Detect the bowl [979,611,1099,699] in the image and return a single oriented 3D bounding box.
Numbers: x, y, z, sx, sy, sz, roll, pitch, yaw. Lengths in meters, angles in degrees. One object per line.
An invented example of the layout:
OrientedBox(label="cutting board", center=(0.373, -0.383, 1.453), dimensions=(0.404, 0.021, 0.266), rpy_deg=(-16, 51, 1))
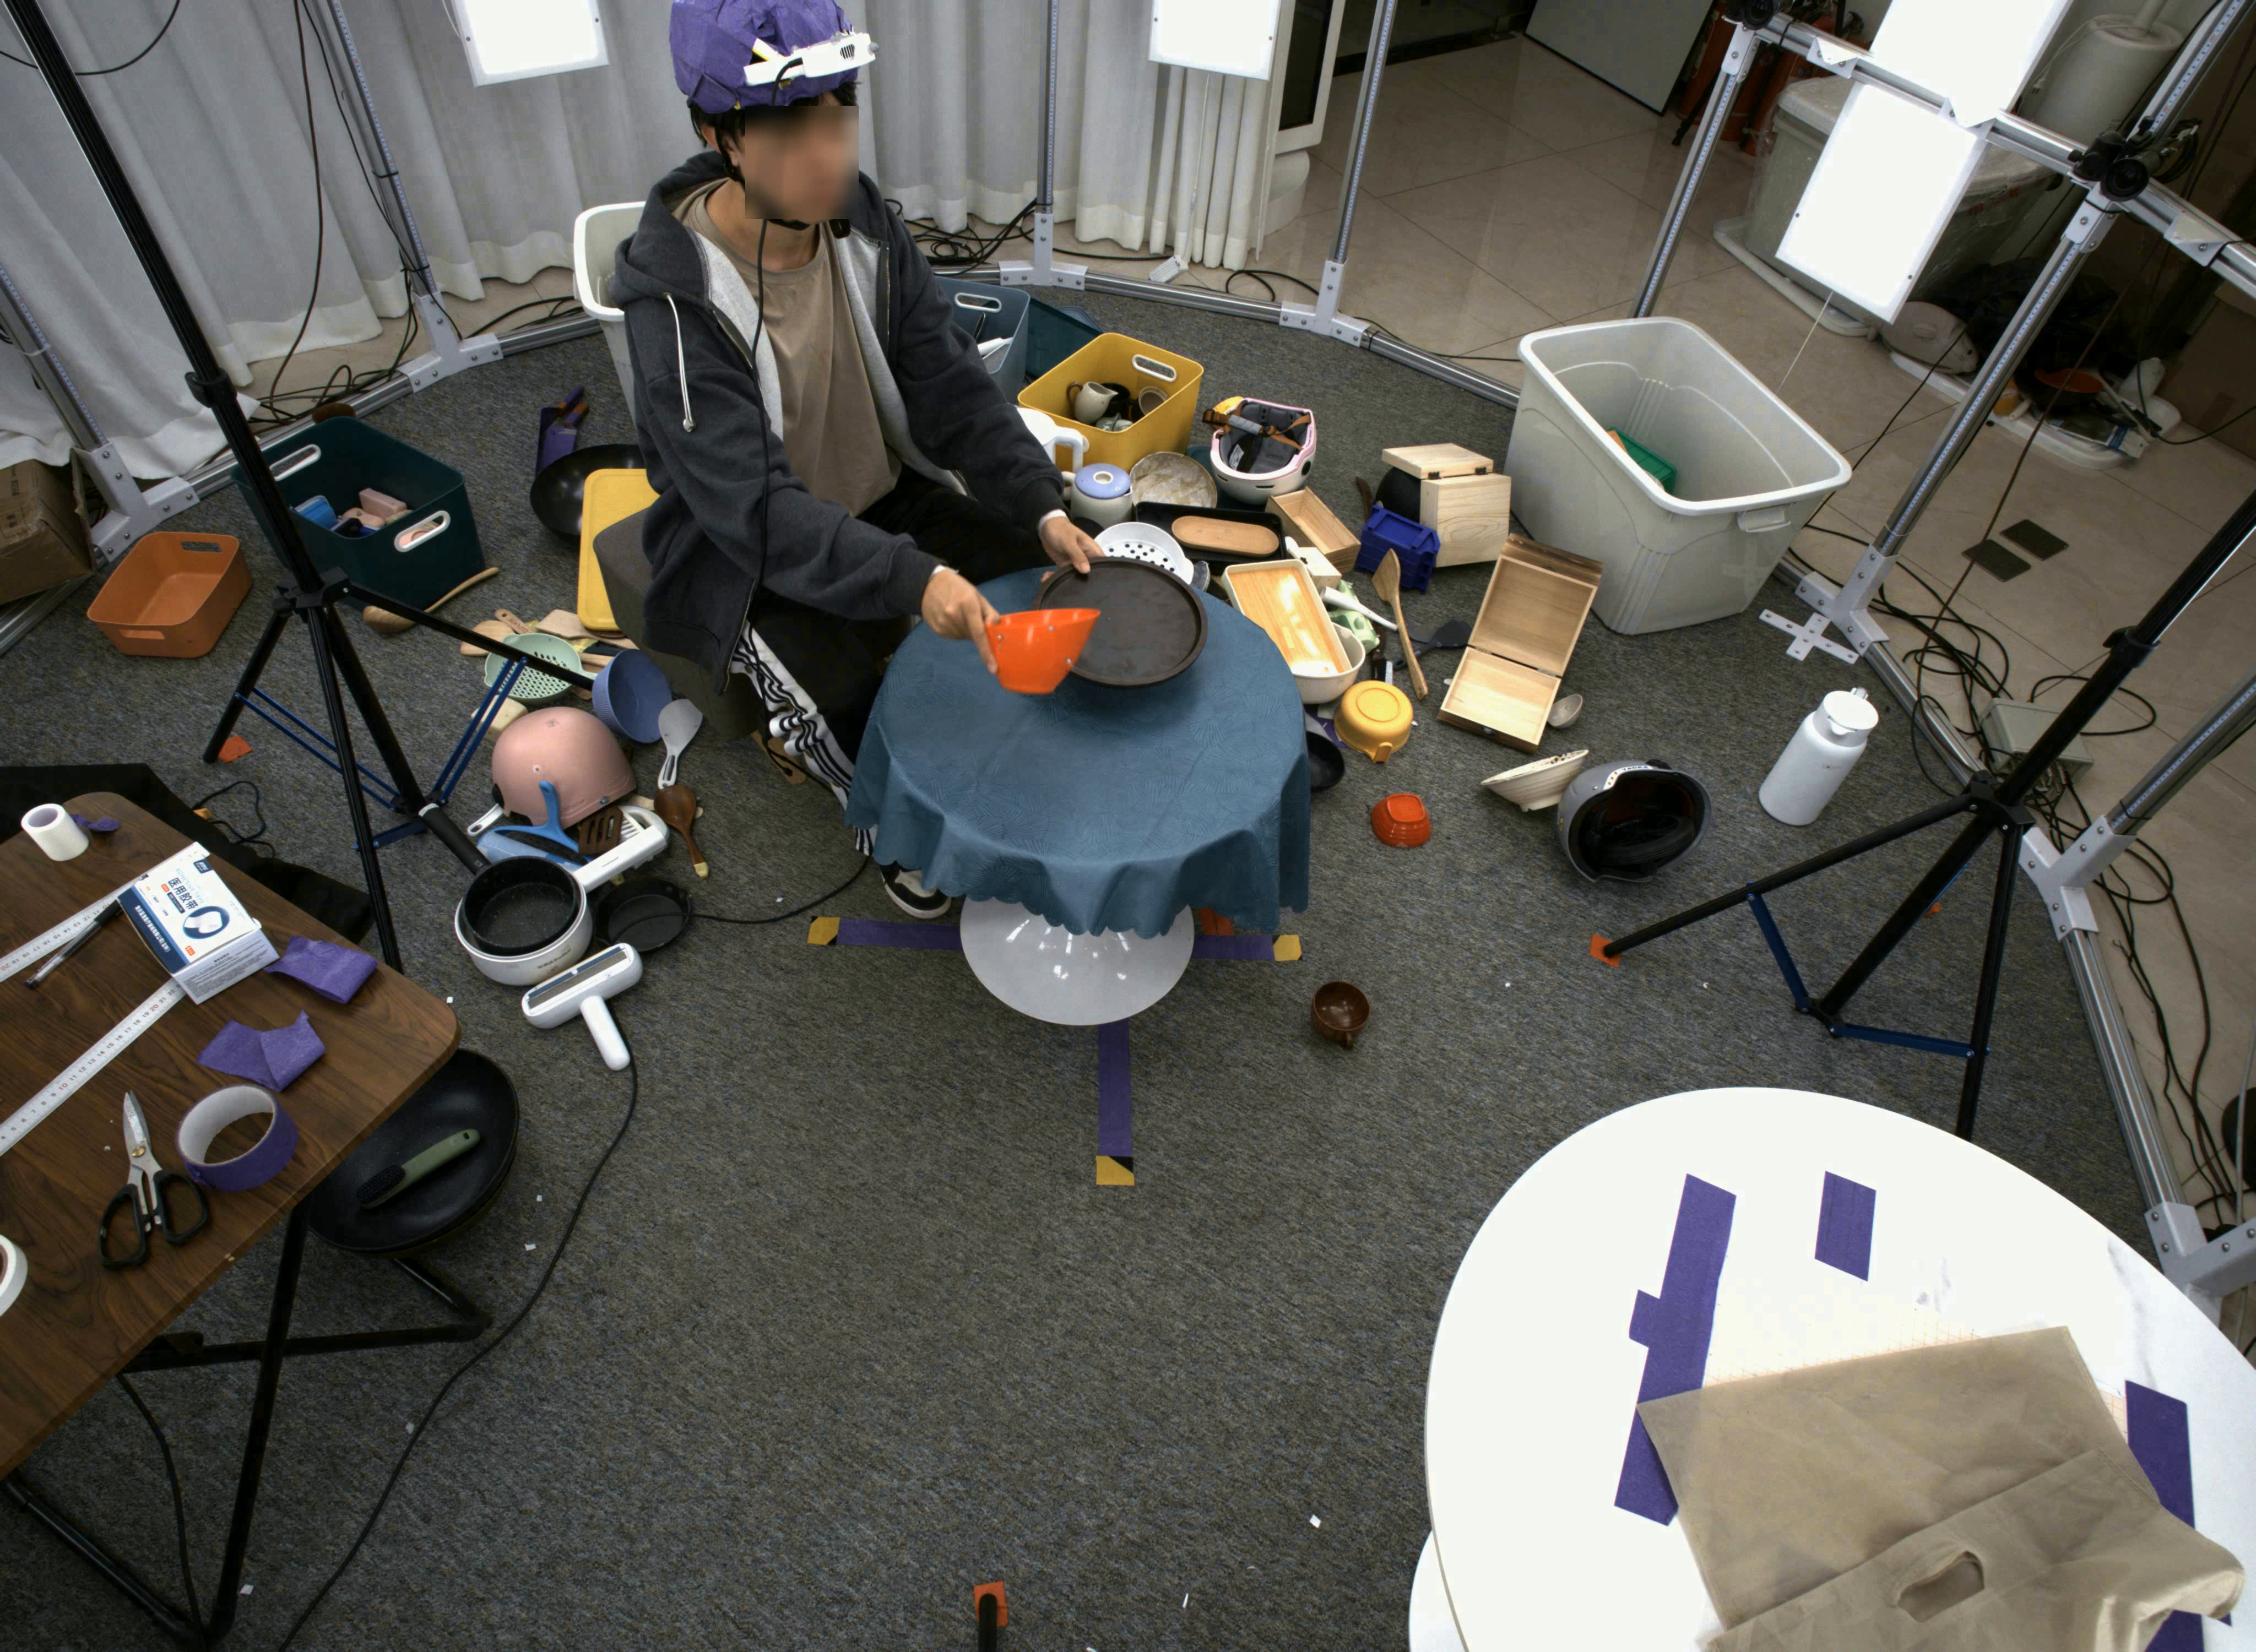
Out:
OrientedBox(label="bowl", center=(-0.115, -0.217, 1.616), dimensions=(0.148, 0.103, 0.150), rpy_deg=(5, 17, -2))

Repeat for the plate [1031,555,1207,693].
OrientedBox(label="plate", center=(-0.012, -0.288, 1.833), dimensions=(0.254, 0.028, 0.261), rpy_deg=(2, 54, -3))
